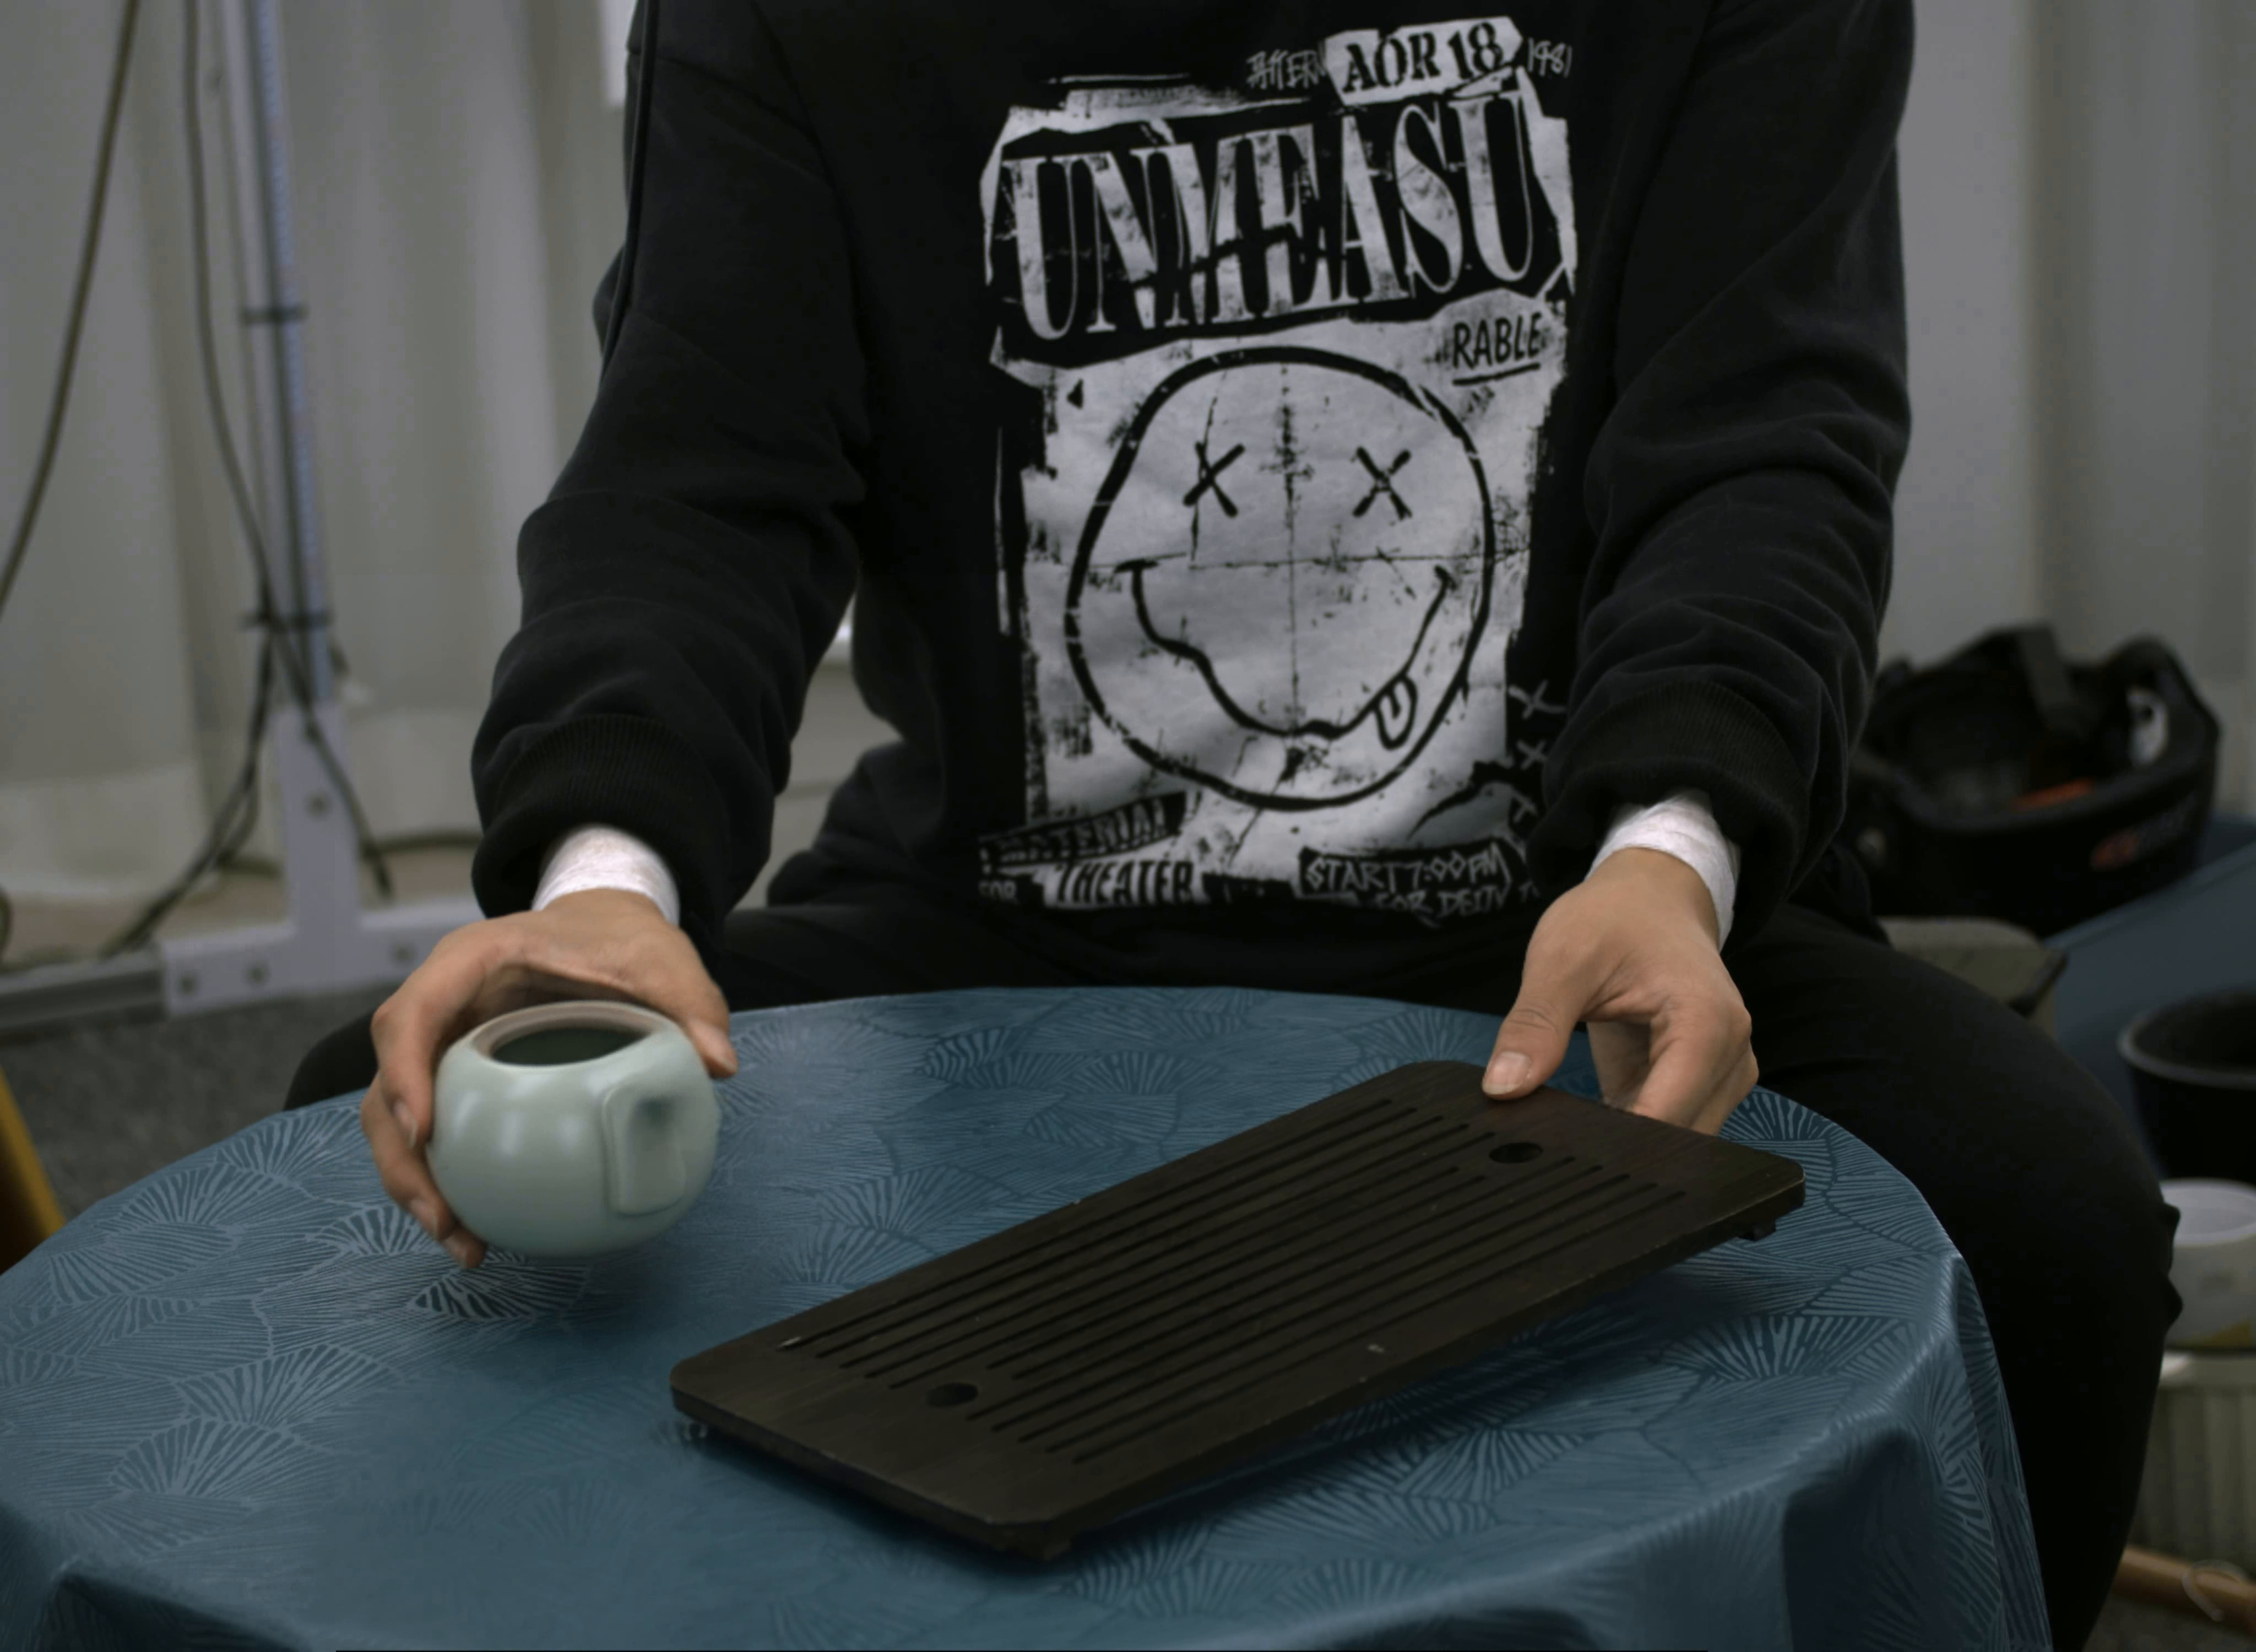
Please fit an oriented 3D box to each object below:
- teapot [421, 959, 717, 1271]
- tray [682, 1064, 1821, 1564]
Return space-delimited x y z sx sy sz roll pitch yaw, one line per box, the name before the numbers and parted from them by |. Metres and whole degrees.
teapot | -0.166 0.091 1.628 0.088 0.074 0.145 -14 22 -29
tray | 0.038 0.135 1.556 0.305 0.018 0.171 -19 21 -36
